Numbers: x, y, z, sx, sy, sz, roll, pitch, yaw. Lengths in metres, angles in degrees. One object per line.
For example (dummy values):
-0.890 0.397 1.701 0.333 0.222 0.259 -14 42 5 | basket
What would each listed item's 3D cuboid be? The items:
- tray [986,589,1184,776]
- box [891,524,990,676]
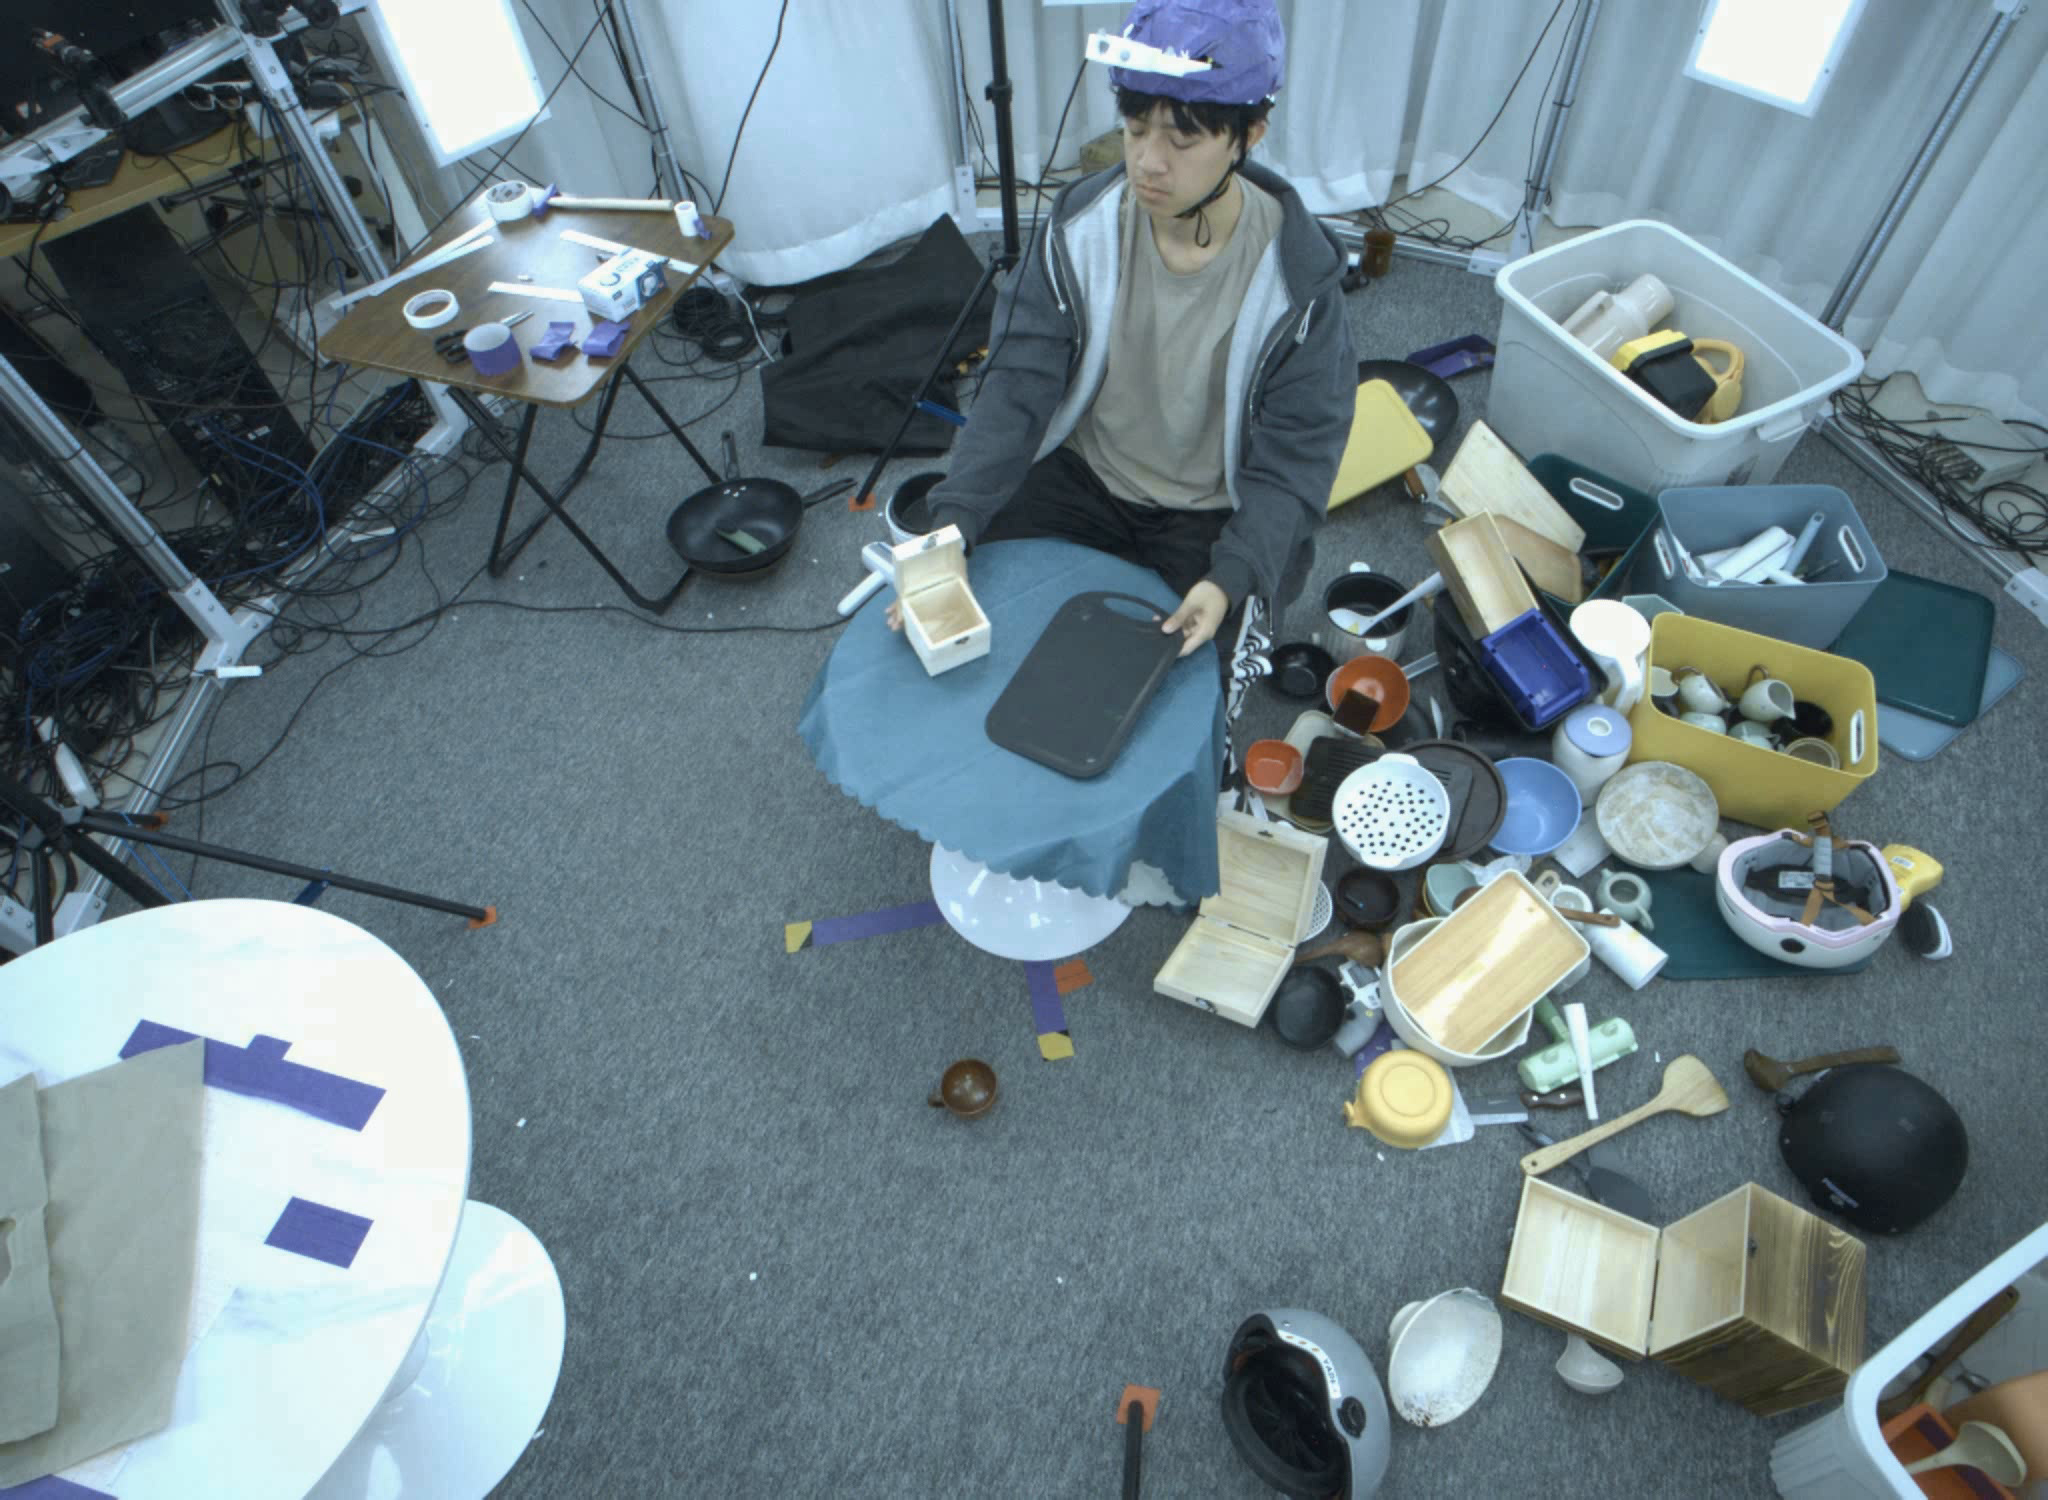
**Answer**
0.095 -0.114 1.835 0.208 0.010 0.326 24 65 22 | tray
-0.123 -0.221 1.820 0.103 0.185 0.132 -25 66 -16 | box
